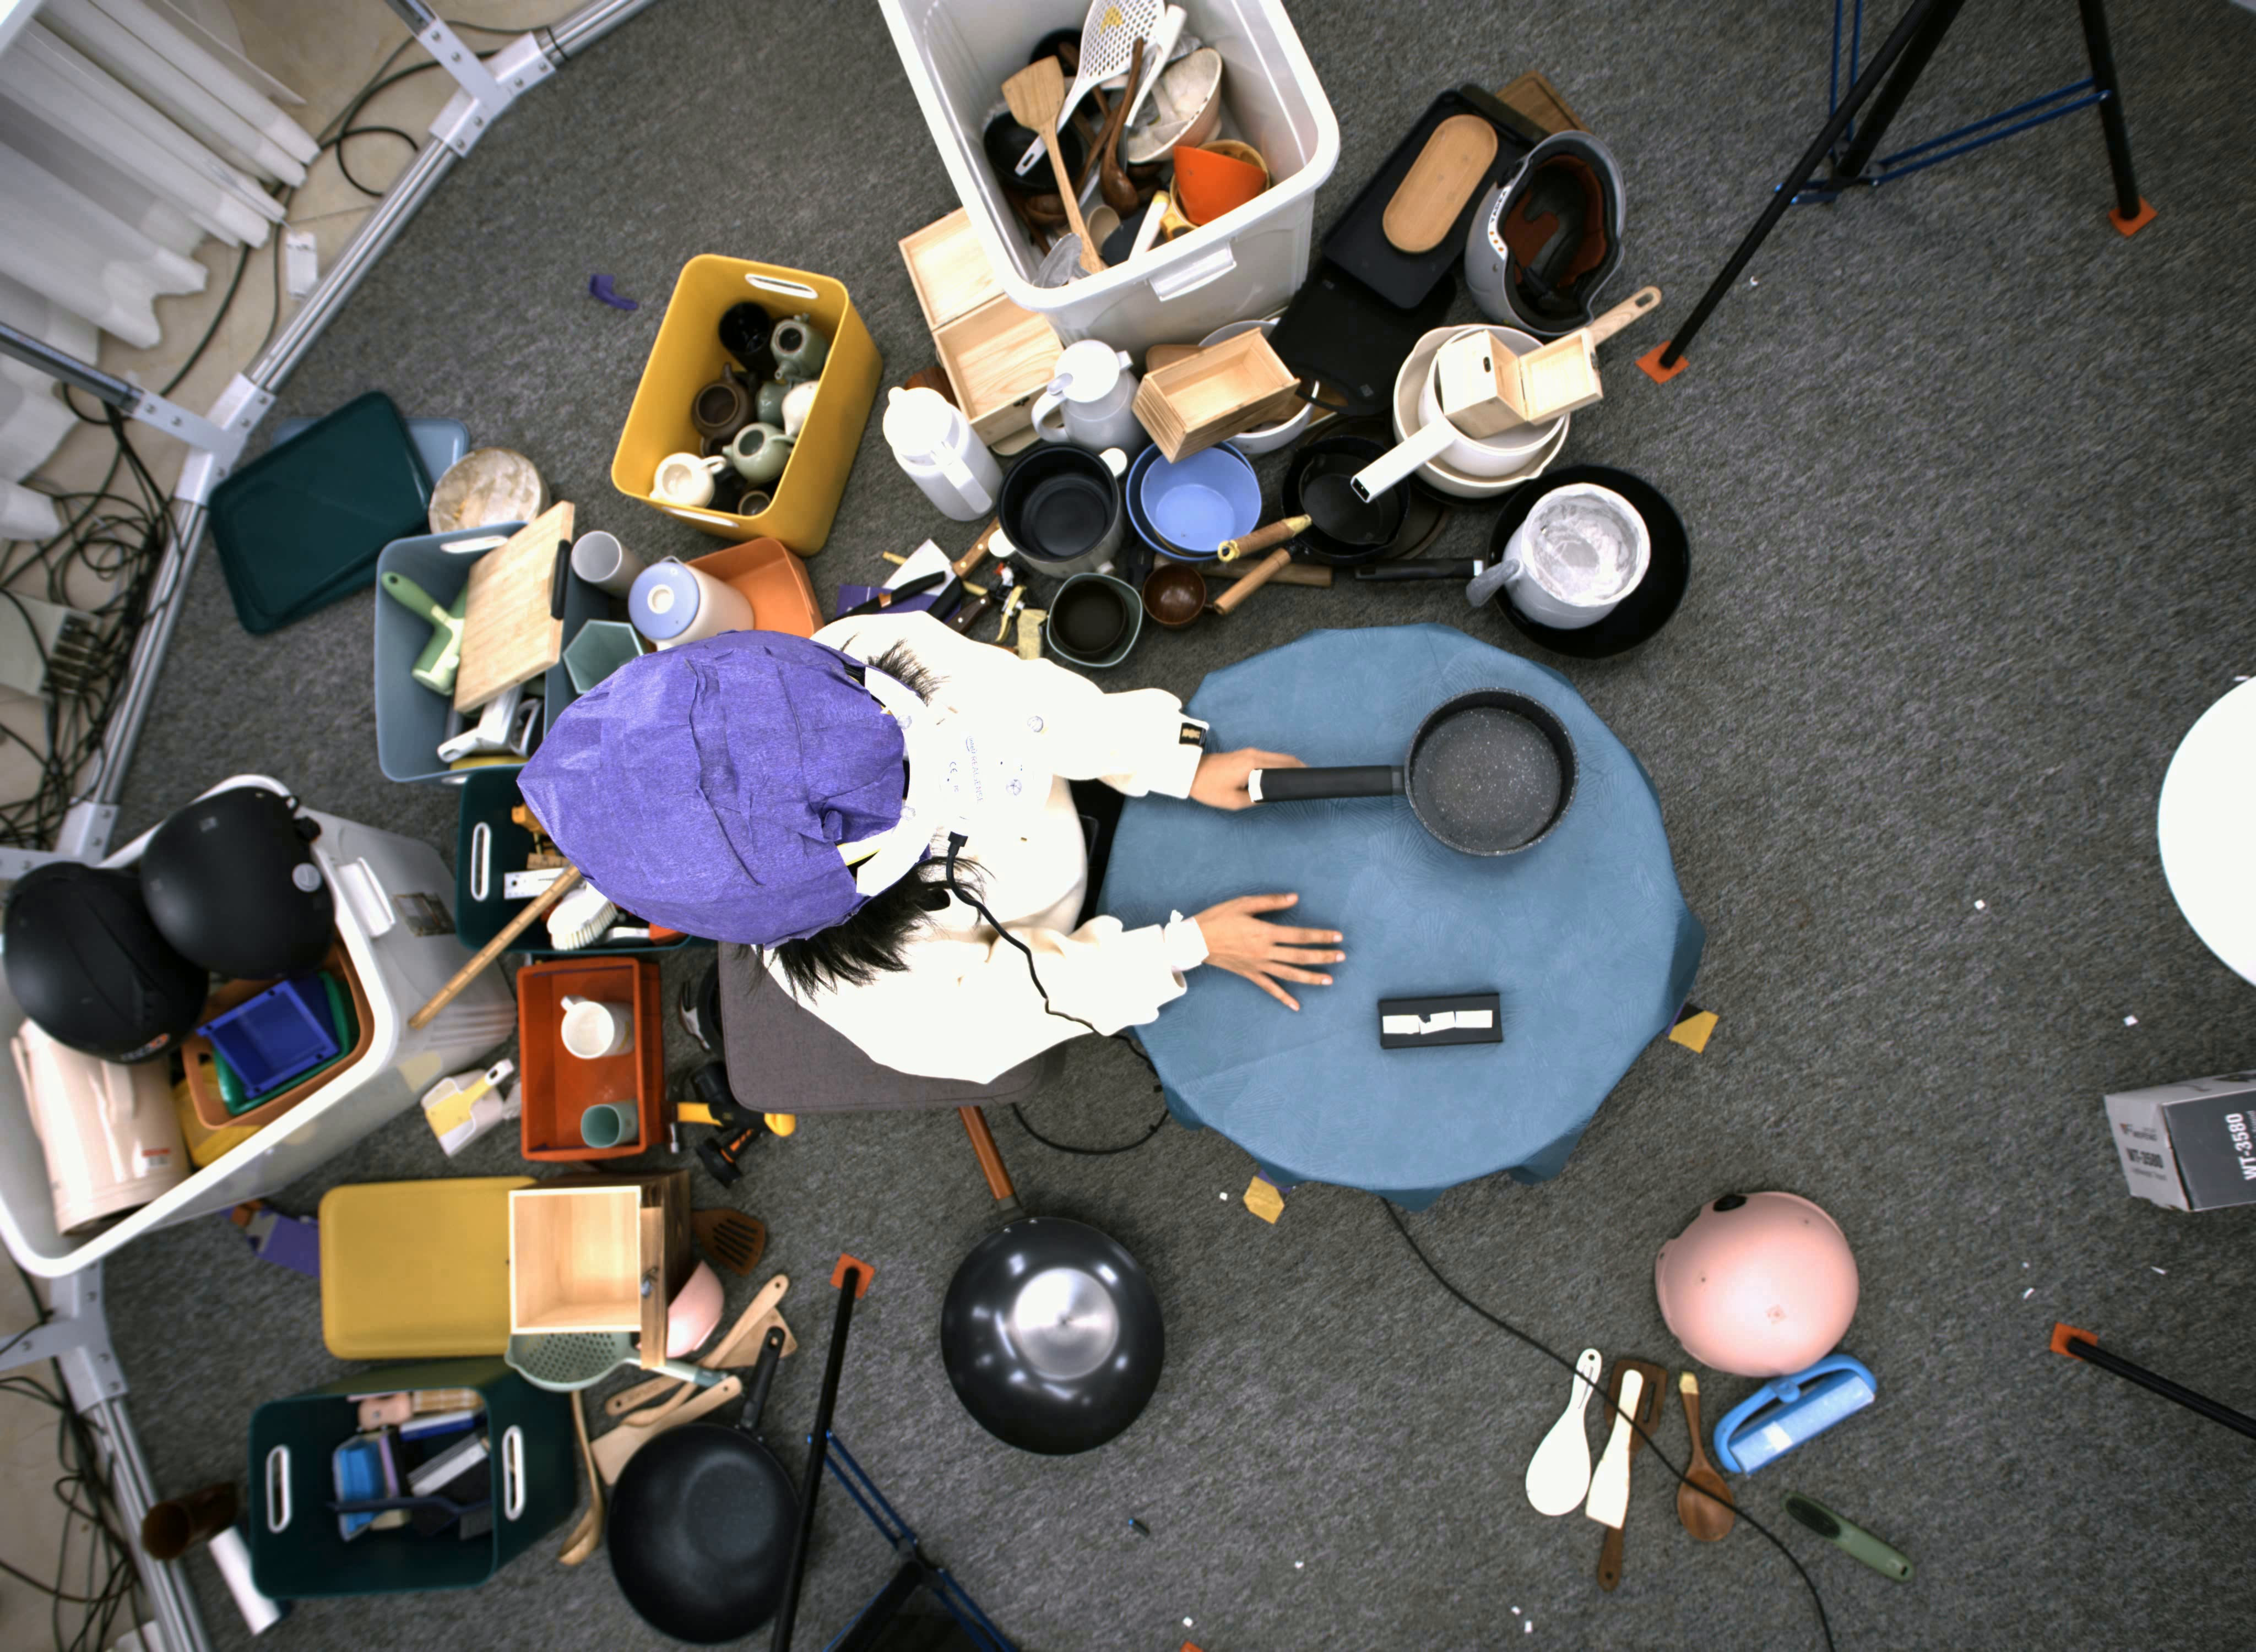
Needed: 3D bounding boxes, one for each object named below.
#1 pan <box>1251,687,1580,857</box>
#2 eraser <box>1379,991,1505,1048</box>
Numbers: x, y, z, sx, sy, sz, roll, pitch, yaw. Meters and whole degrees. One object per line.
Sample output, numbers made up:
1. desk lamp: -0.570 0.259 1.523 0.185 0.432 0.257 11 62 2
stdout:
1. pan: 0.291 -0.051 1.421 0.330 0.086 0.171 -1 85 9
2. eraser: 0.325 0.198 1.429 0.126 0.030 0.053 -4 85 11
